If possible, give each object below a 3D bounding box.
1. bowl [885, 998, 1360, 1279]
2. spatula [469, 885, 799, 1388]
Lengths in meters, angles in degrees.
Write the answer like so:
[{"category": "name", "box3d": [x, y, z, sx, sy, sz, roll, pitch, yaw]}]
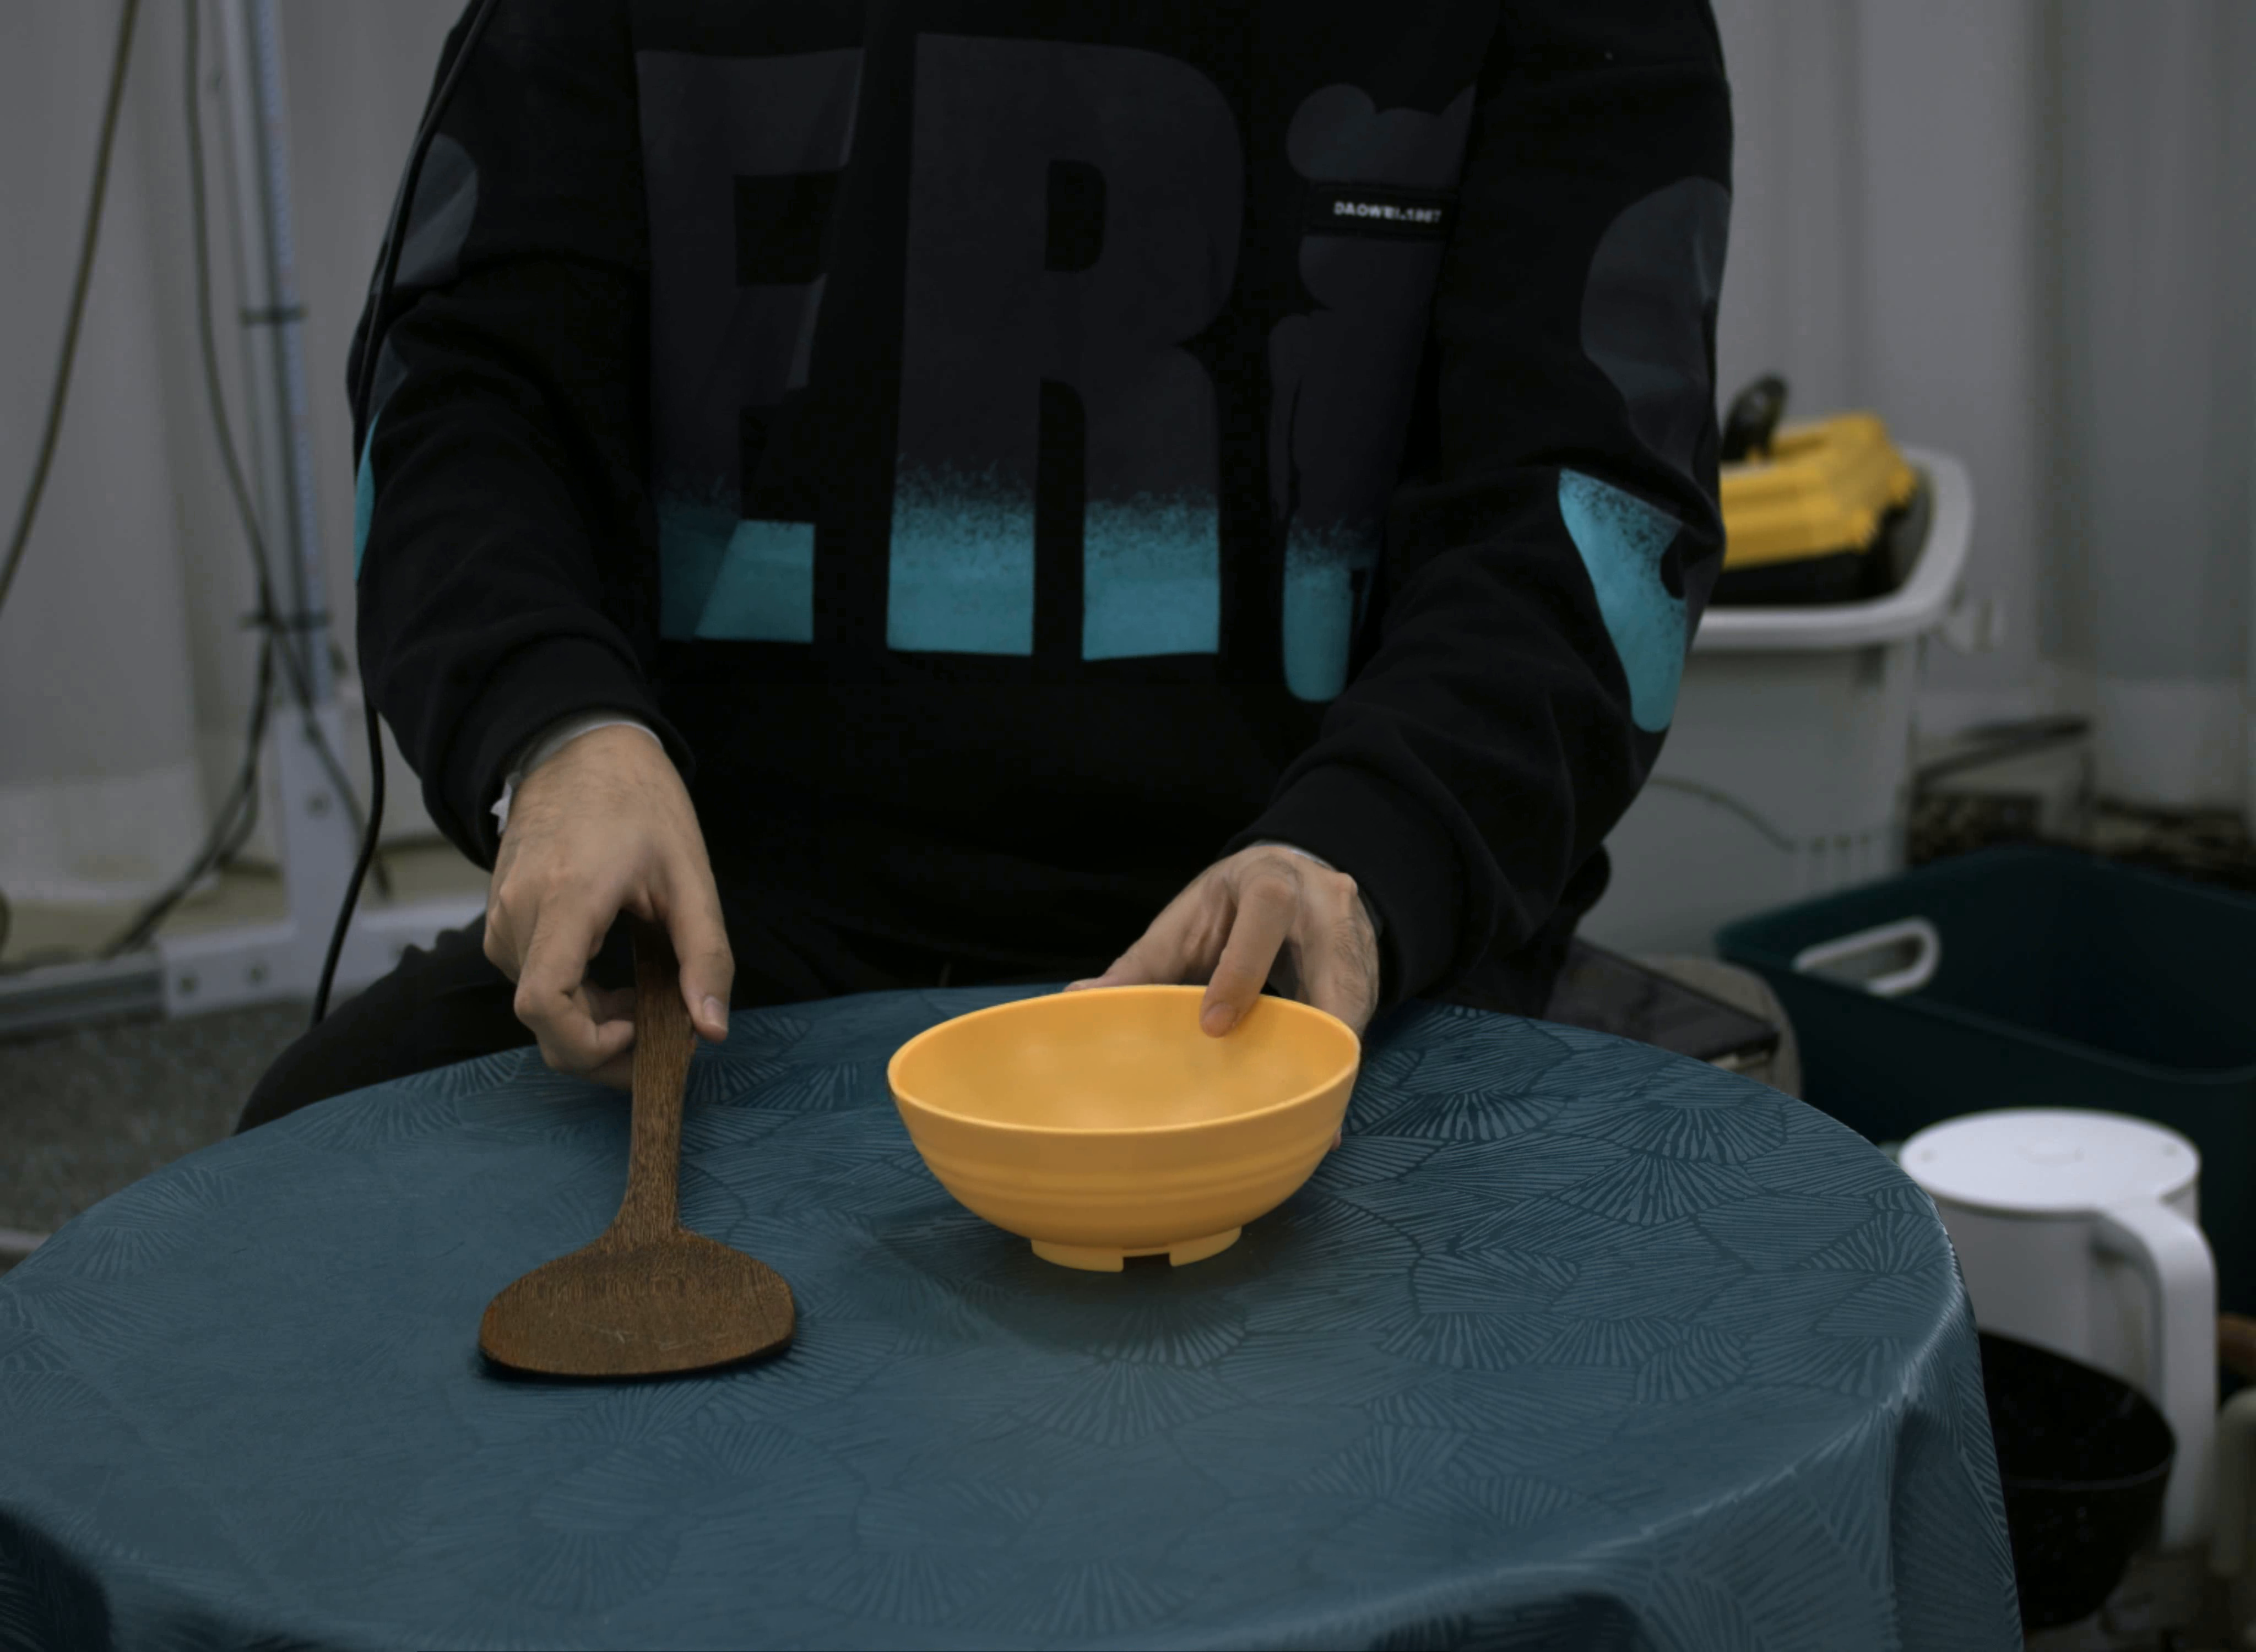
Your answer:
[{"category": "bowl", "box3d": [-0.001, 0.100, 1.665, 0.145, 0.060, 0.146, -1, 13, 0]}, {"category": "spatula", "box3d": [-0.151, 0.091, 1.750, 0.096, 0.015, 0.390, -3, 22, -2]}]
